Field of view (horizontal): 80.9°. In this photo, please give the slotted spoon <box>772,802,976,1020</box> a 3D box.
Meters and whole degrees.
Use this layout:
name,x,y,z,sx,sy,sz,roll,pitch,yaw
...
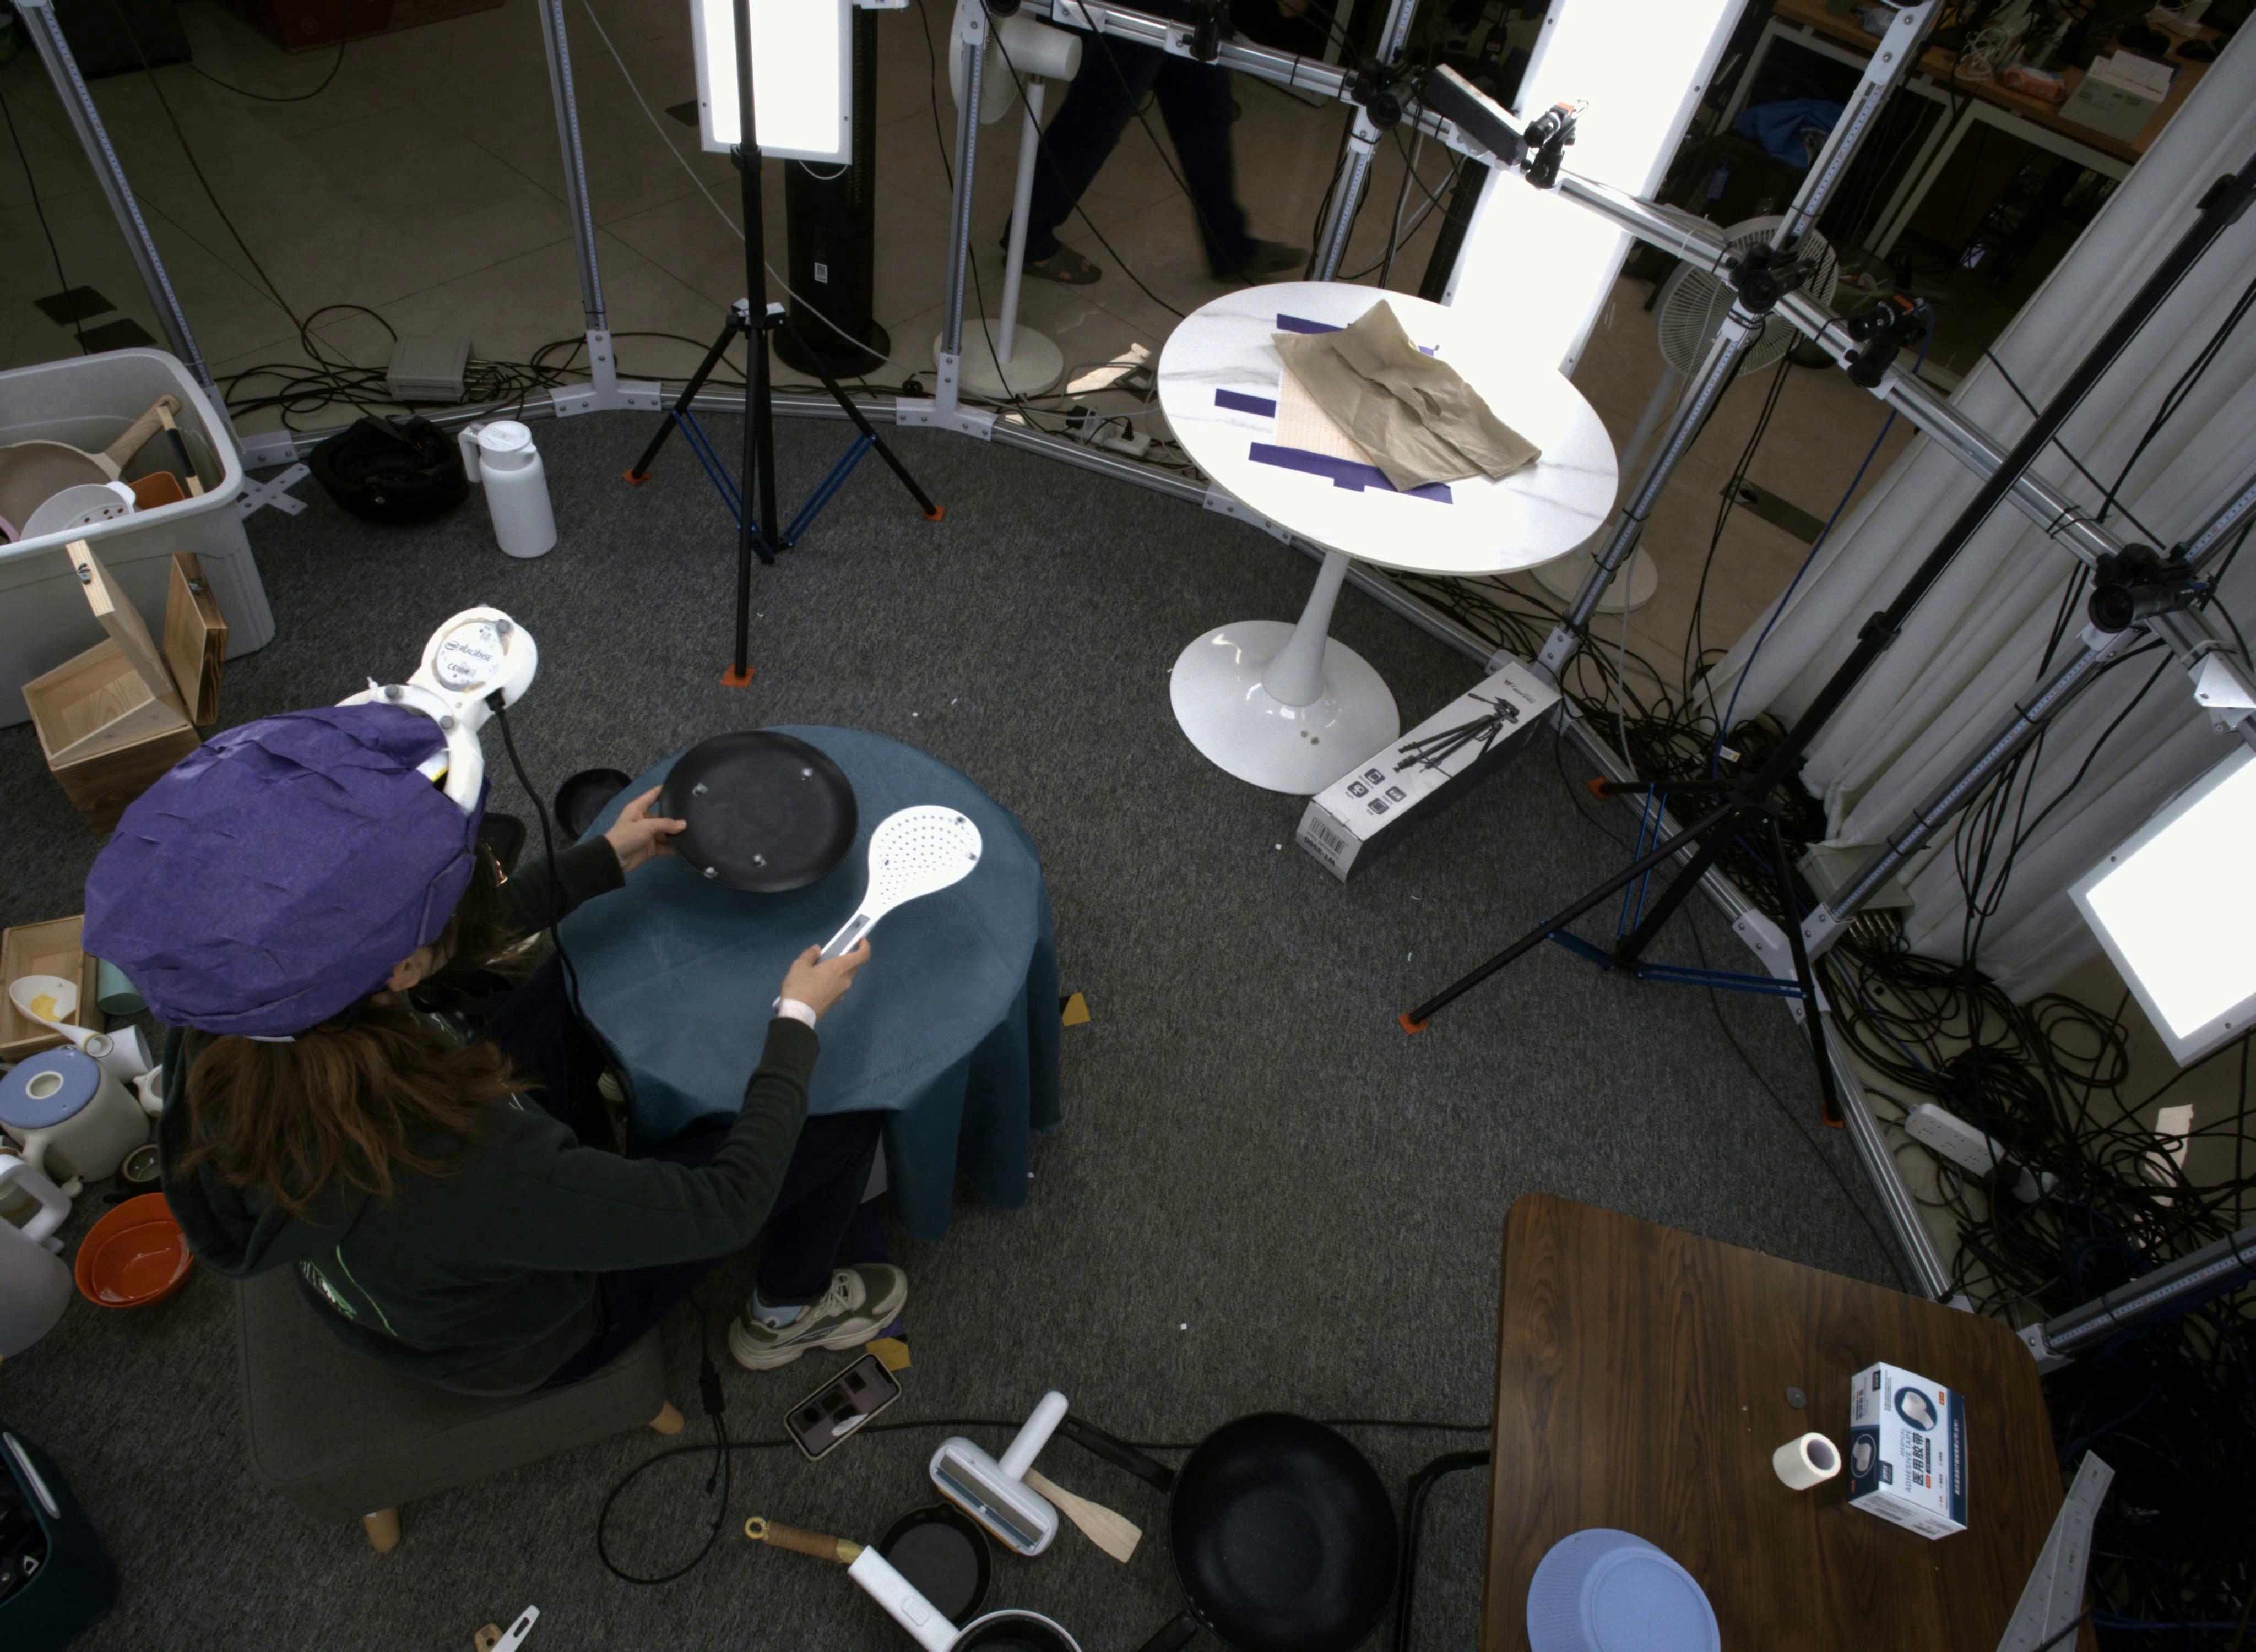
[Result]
name,x,y,z,sx,sy,sz,roll,pitch,yaw
slotted spoon,-0.304,0.094,1.543,0.132,0.047,0.348,23,47,16

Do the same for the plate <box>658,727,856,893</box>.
name,x,y,z,sx,sy,sz,roll,pitch,yaw
plate,-0.465,-0.019,1.622,0.246,0.023,0.240,12,56,-16
